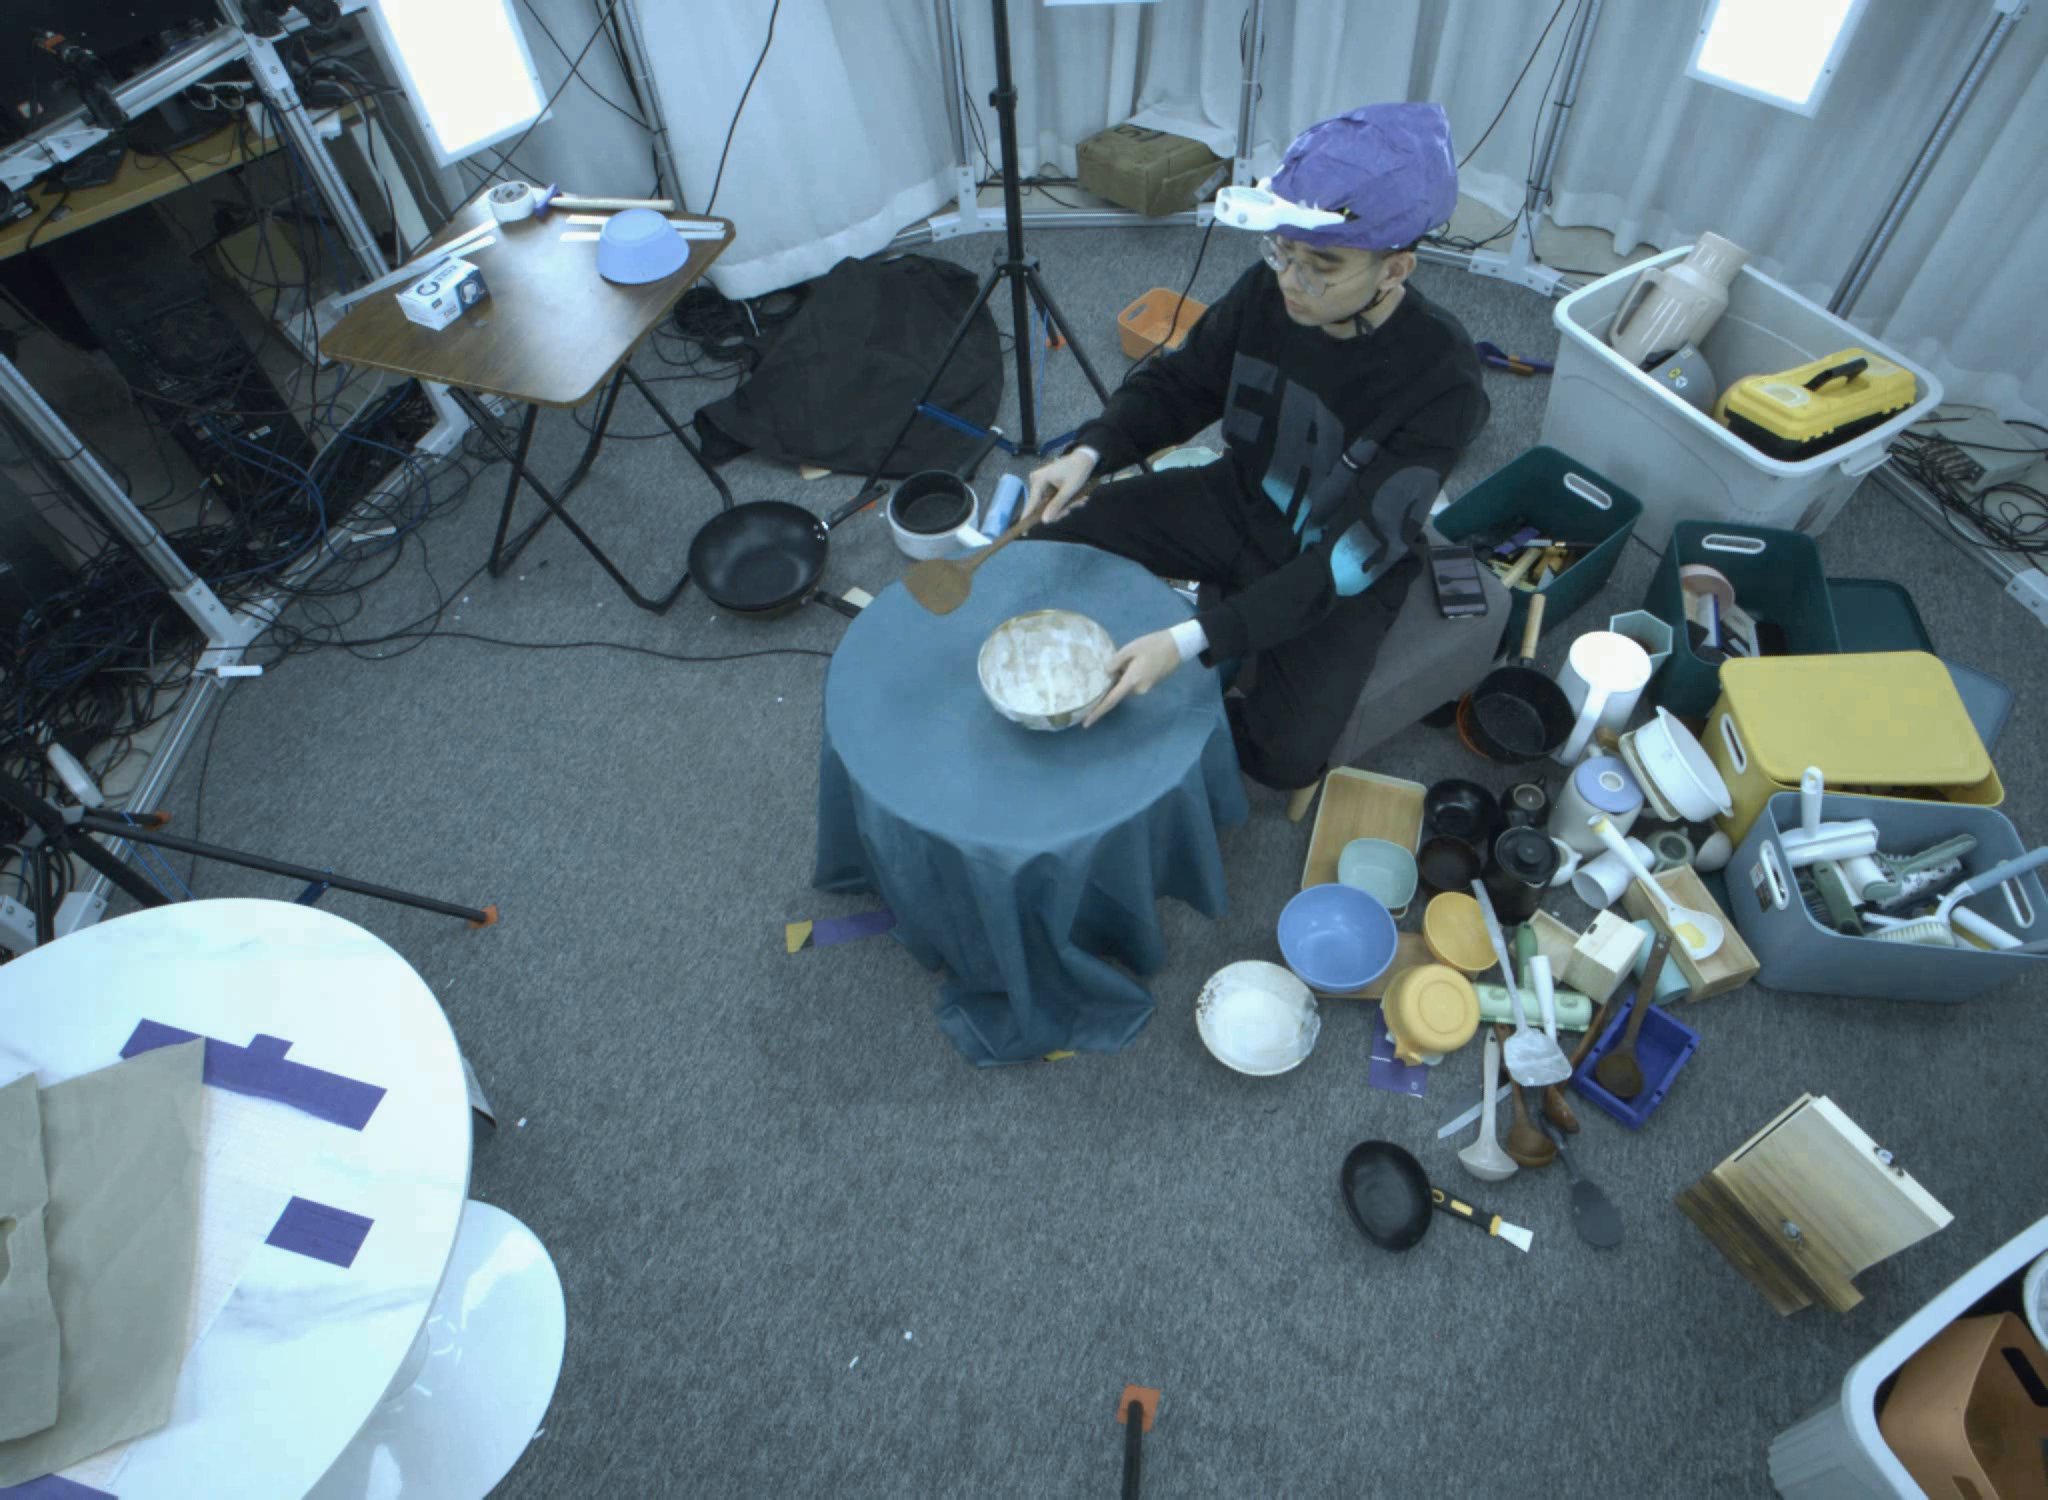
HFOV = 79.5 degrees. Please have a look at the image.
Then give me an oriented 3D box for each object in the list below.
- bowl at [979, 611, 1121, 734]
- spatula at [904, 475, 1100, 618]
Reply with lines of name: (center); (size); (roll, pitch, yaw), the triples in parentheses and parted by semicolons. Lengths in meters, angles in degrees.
bowl: (0.041, -0.098, 1.807); (0.214, 0.095, 0.212); (0, 54, 2)
spatula: (-0.019, -0.322, 1.850); (0.389, 0.016, 0.095); (-39, 80, -26)
